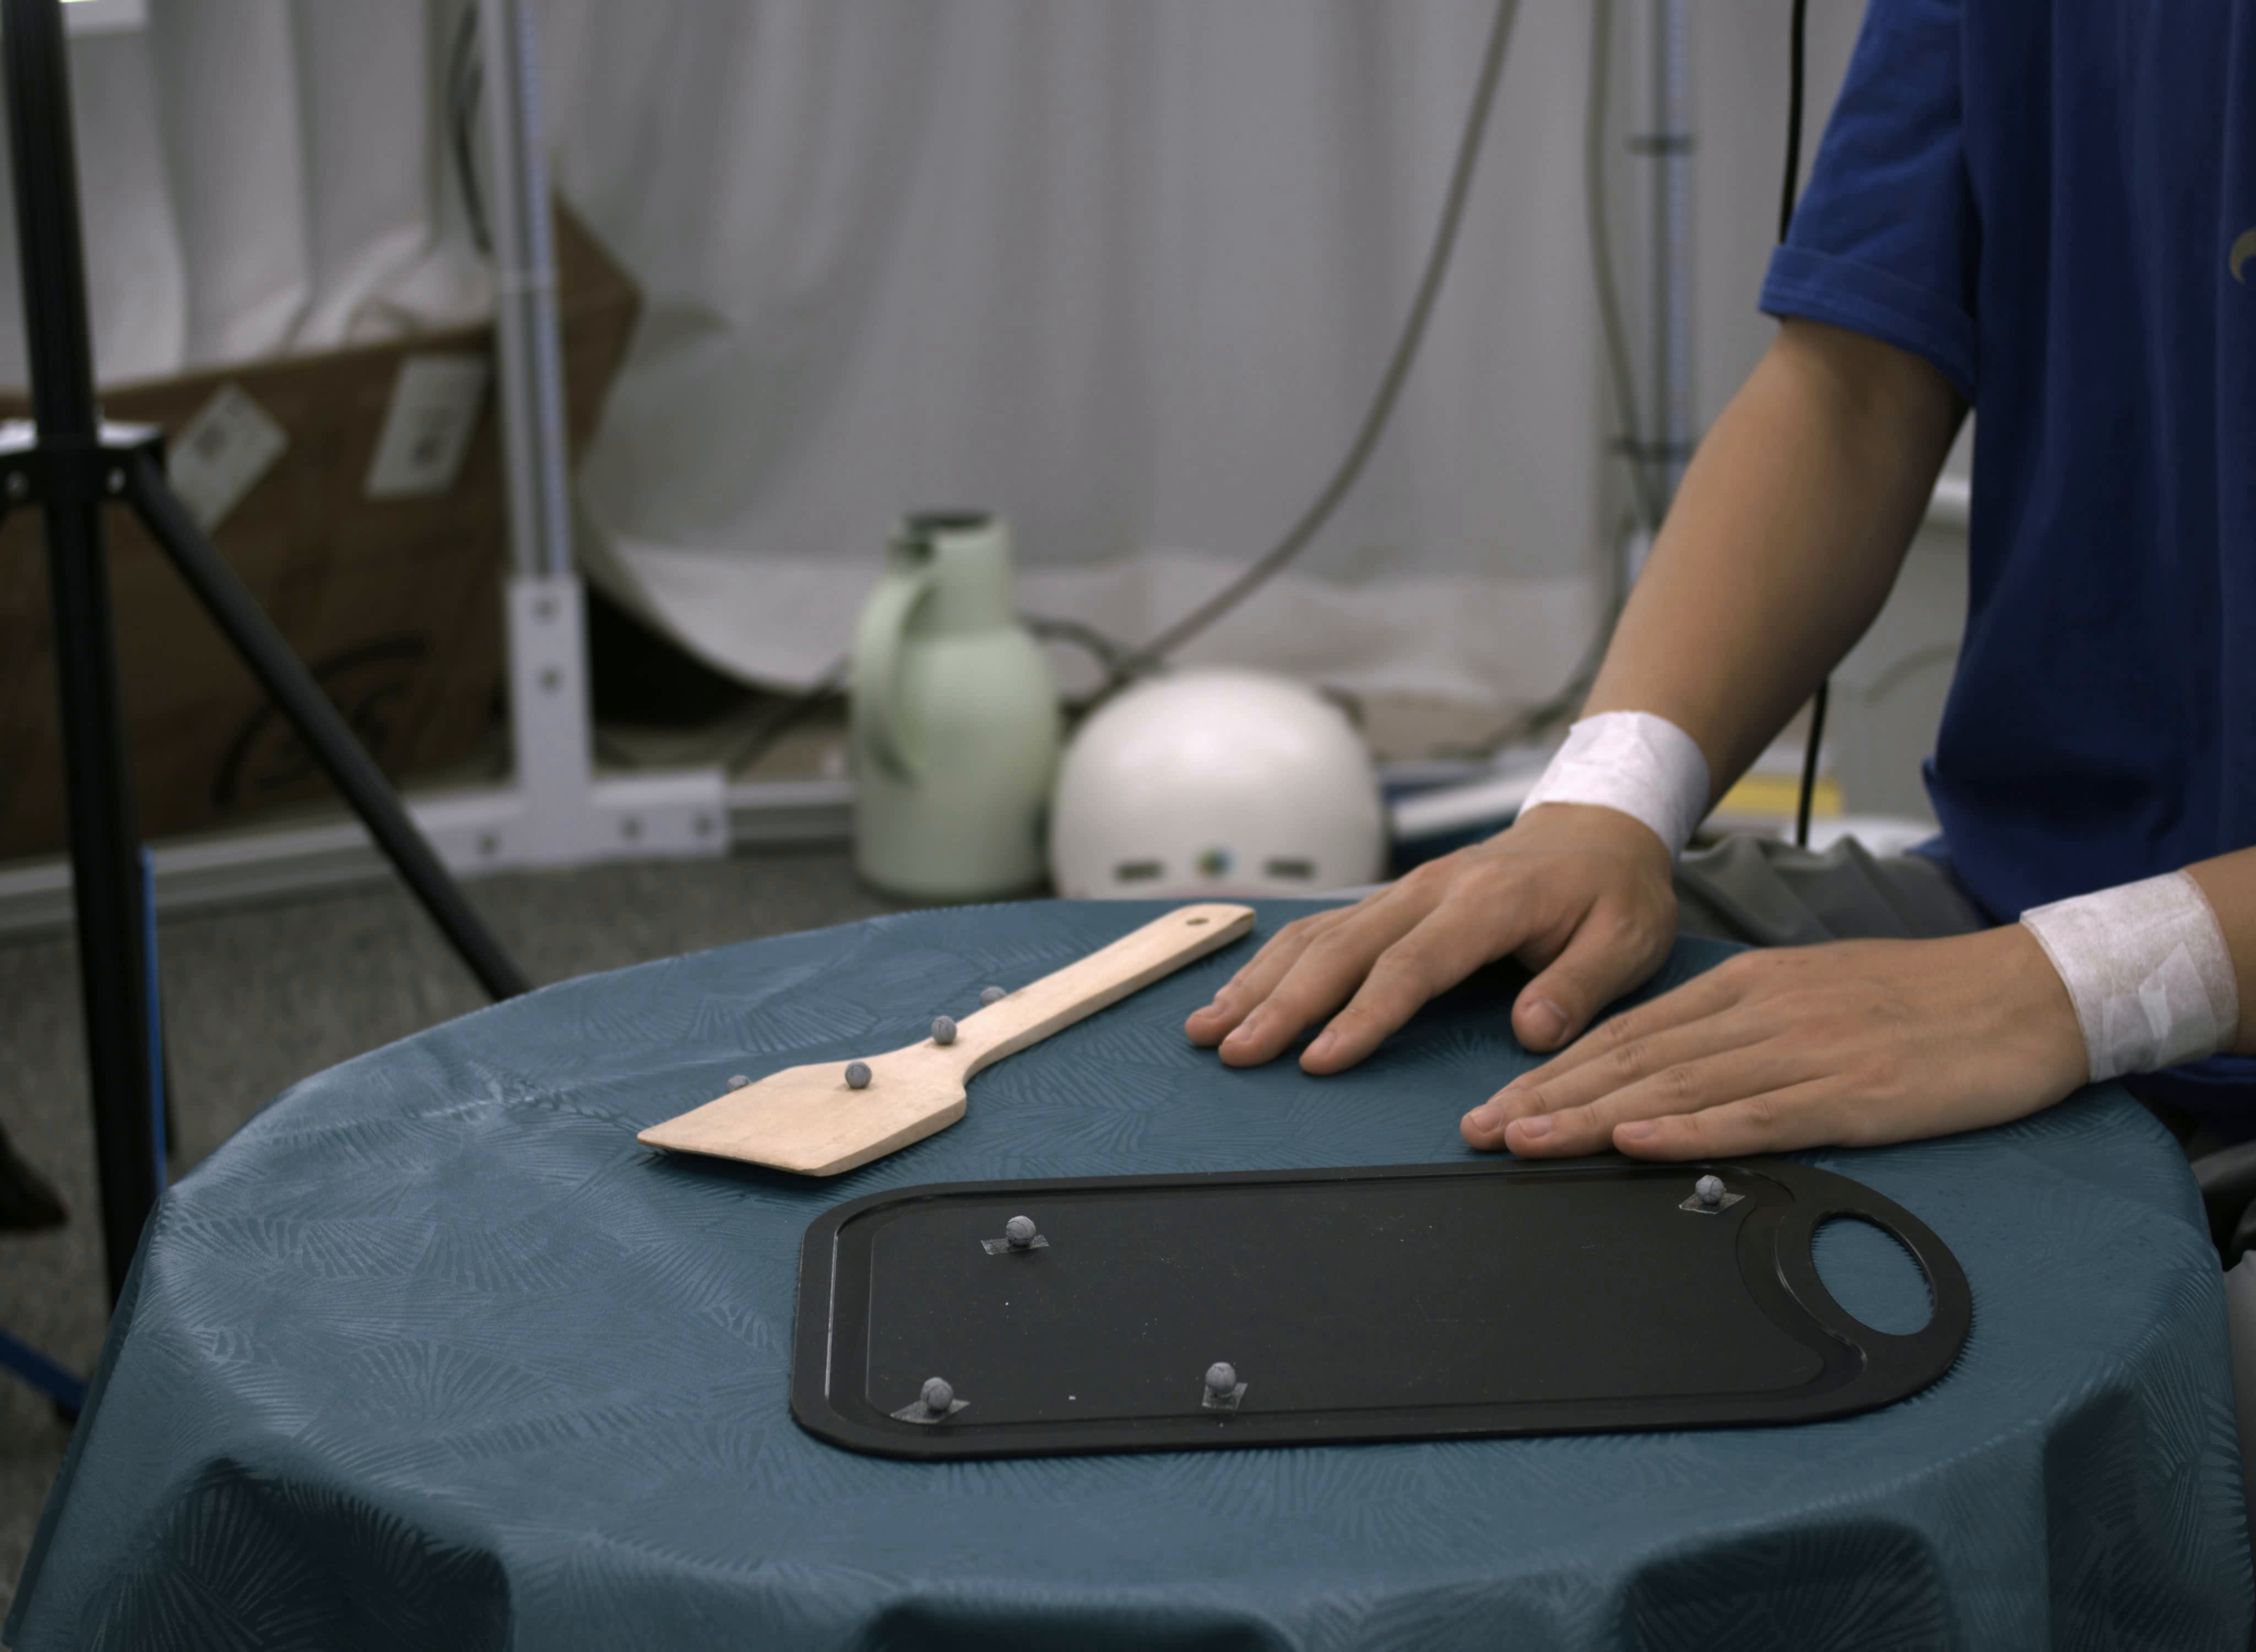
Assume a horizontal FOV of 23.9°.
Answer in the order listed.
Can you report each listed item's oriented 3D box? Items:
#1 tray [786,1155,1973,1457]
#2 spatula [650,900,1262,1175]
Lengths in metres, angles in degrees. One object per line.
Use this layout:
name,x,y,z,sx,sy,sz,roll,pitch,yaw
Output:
tray,0.070,0.129,1.463,0.324,0.010,0.212,-2,16,1
spatula,-0.041,0.064,1.701,0.073,0.010,0.287,6,18,33
